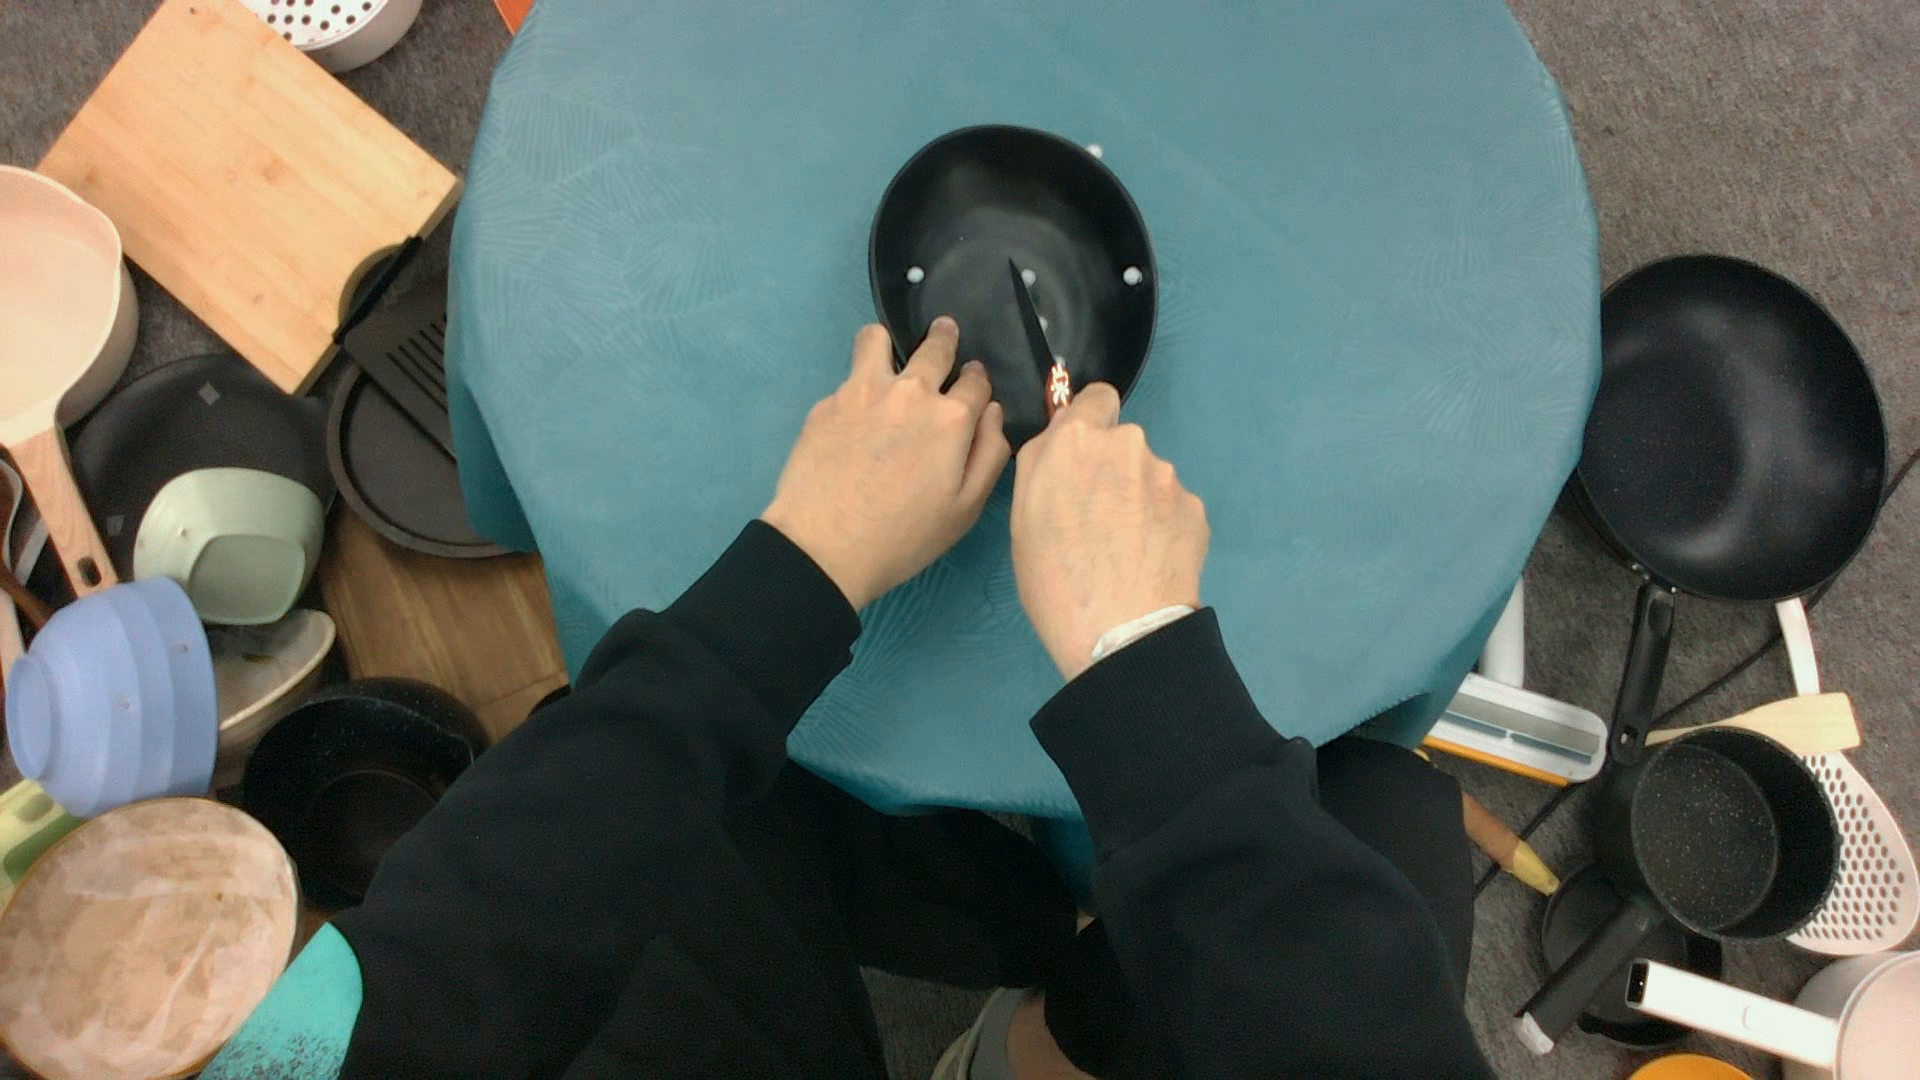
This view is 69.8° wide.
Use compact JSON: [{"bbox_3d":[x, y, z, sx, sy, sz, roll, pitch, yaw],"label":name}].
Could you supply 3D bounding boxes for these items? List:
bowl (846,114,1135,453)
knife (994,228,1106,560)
[{"bbox_3d":[0.014,-0.122,0.683,0.137,0.066,0.170,-13,79,-7],"label":"bowl"},{"bbox_3d":[0.035,-0.075,0.626,0.017,0.026,0.226,3,43,-15],"label":"knife"}]
